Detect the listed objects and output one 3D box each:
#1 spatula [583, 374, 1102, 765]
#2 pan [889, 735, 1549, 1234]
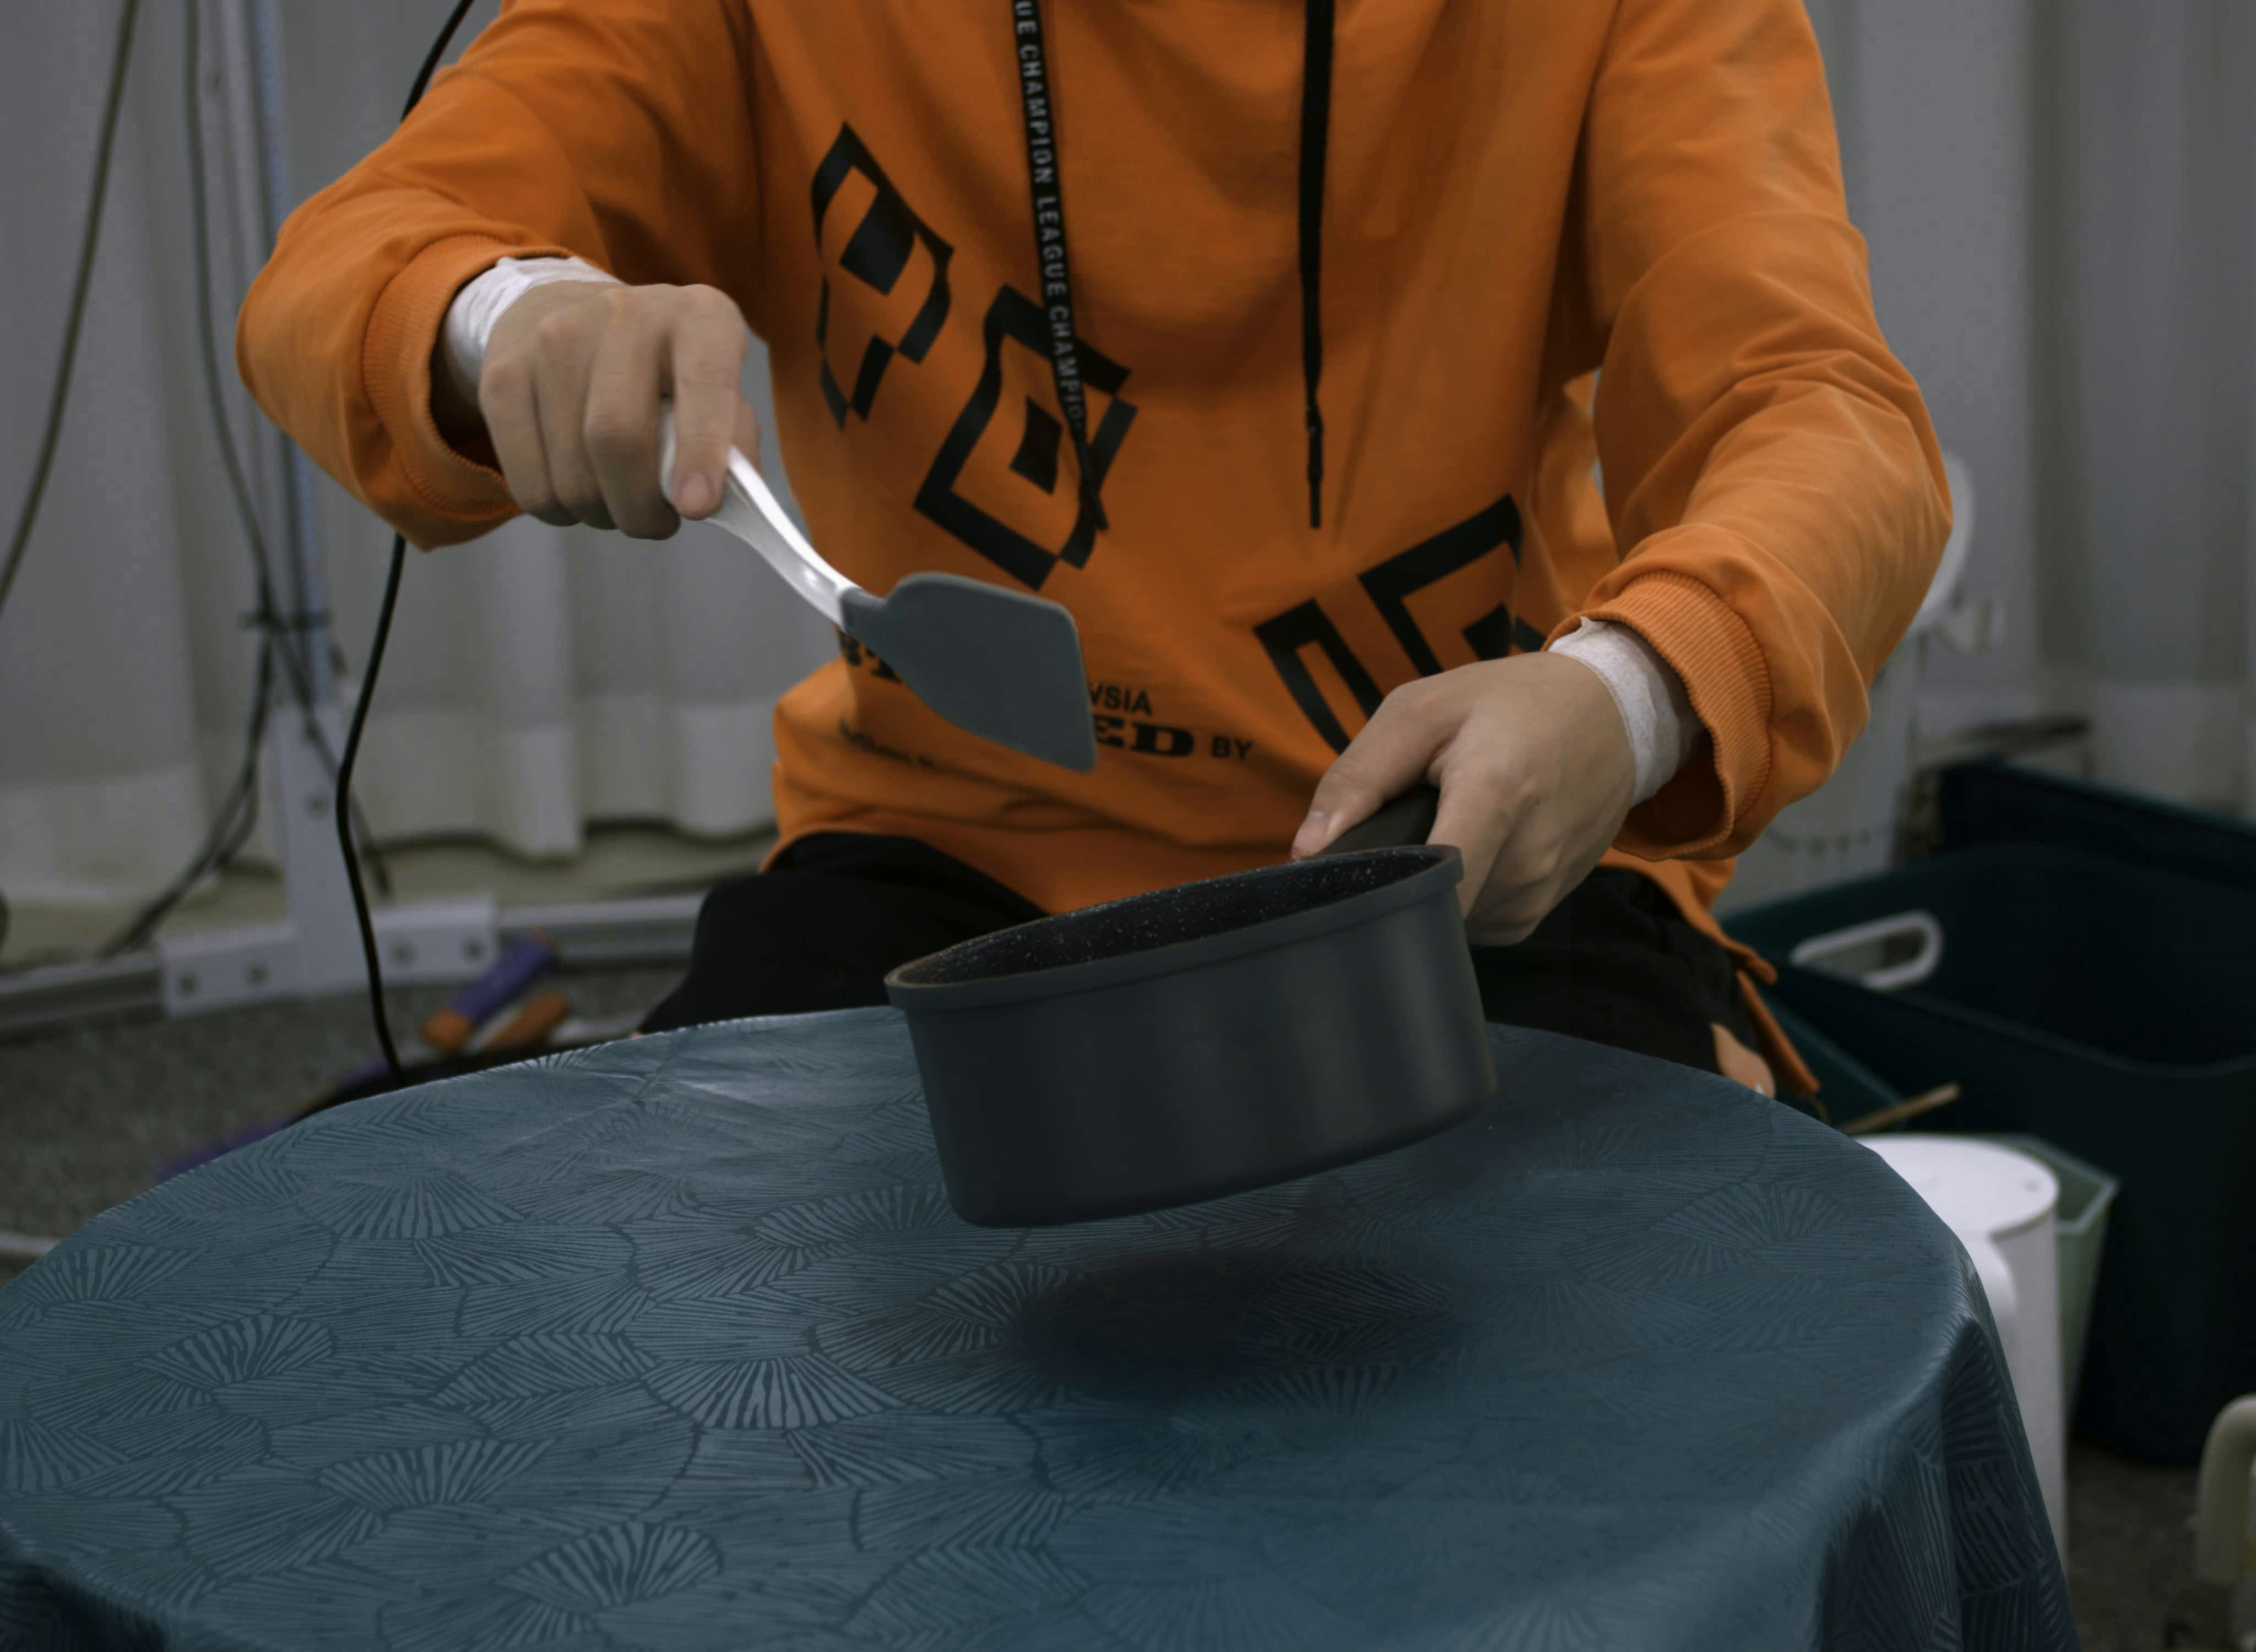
[{"bbox_3d":[-0.089,-0.082,1.638,0.032,0.058,0.290,-19,28,-24],"label":"spatula"},{"bbox_3d":[0.056,0.044,1.650,0.172,0.086,0.329,-10,7,28],"label":"pan"}]
